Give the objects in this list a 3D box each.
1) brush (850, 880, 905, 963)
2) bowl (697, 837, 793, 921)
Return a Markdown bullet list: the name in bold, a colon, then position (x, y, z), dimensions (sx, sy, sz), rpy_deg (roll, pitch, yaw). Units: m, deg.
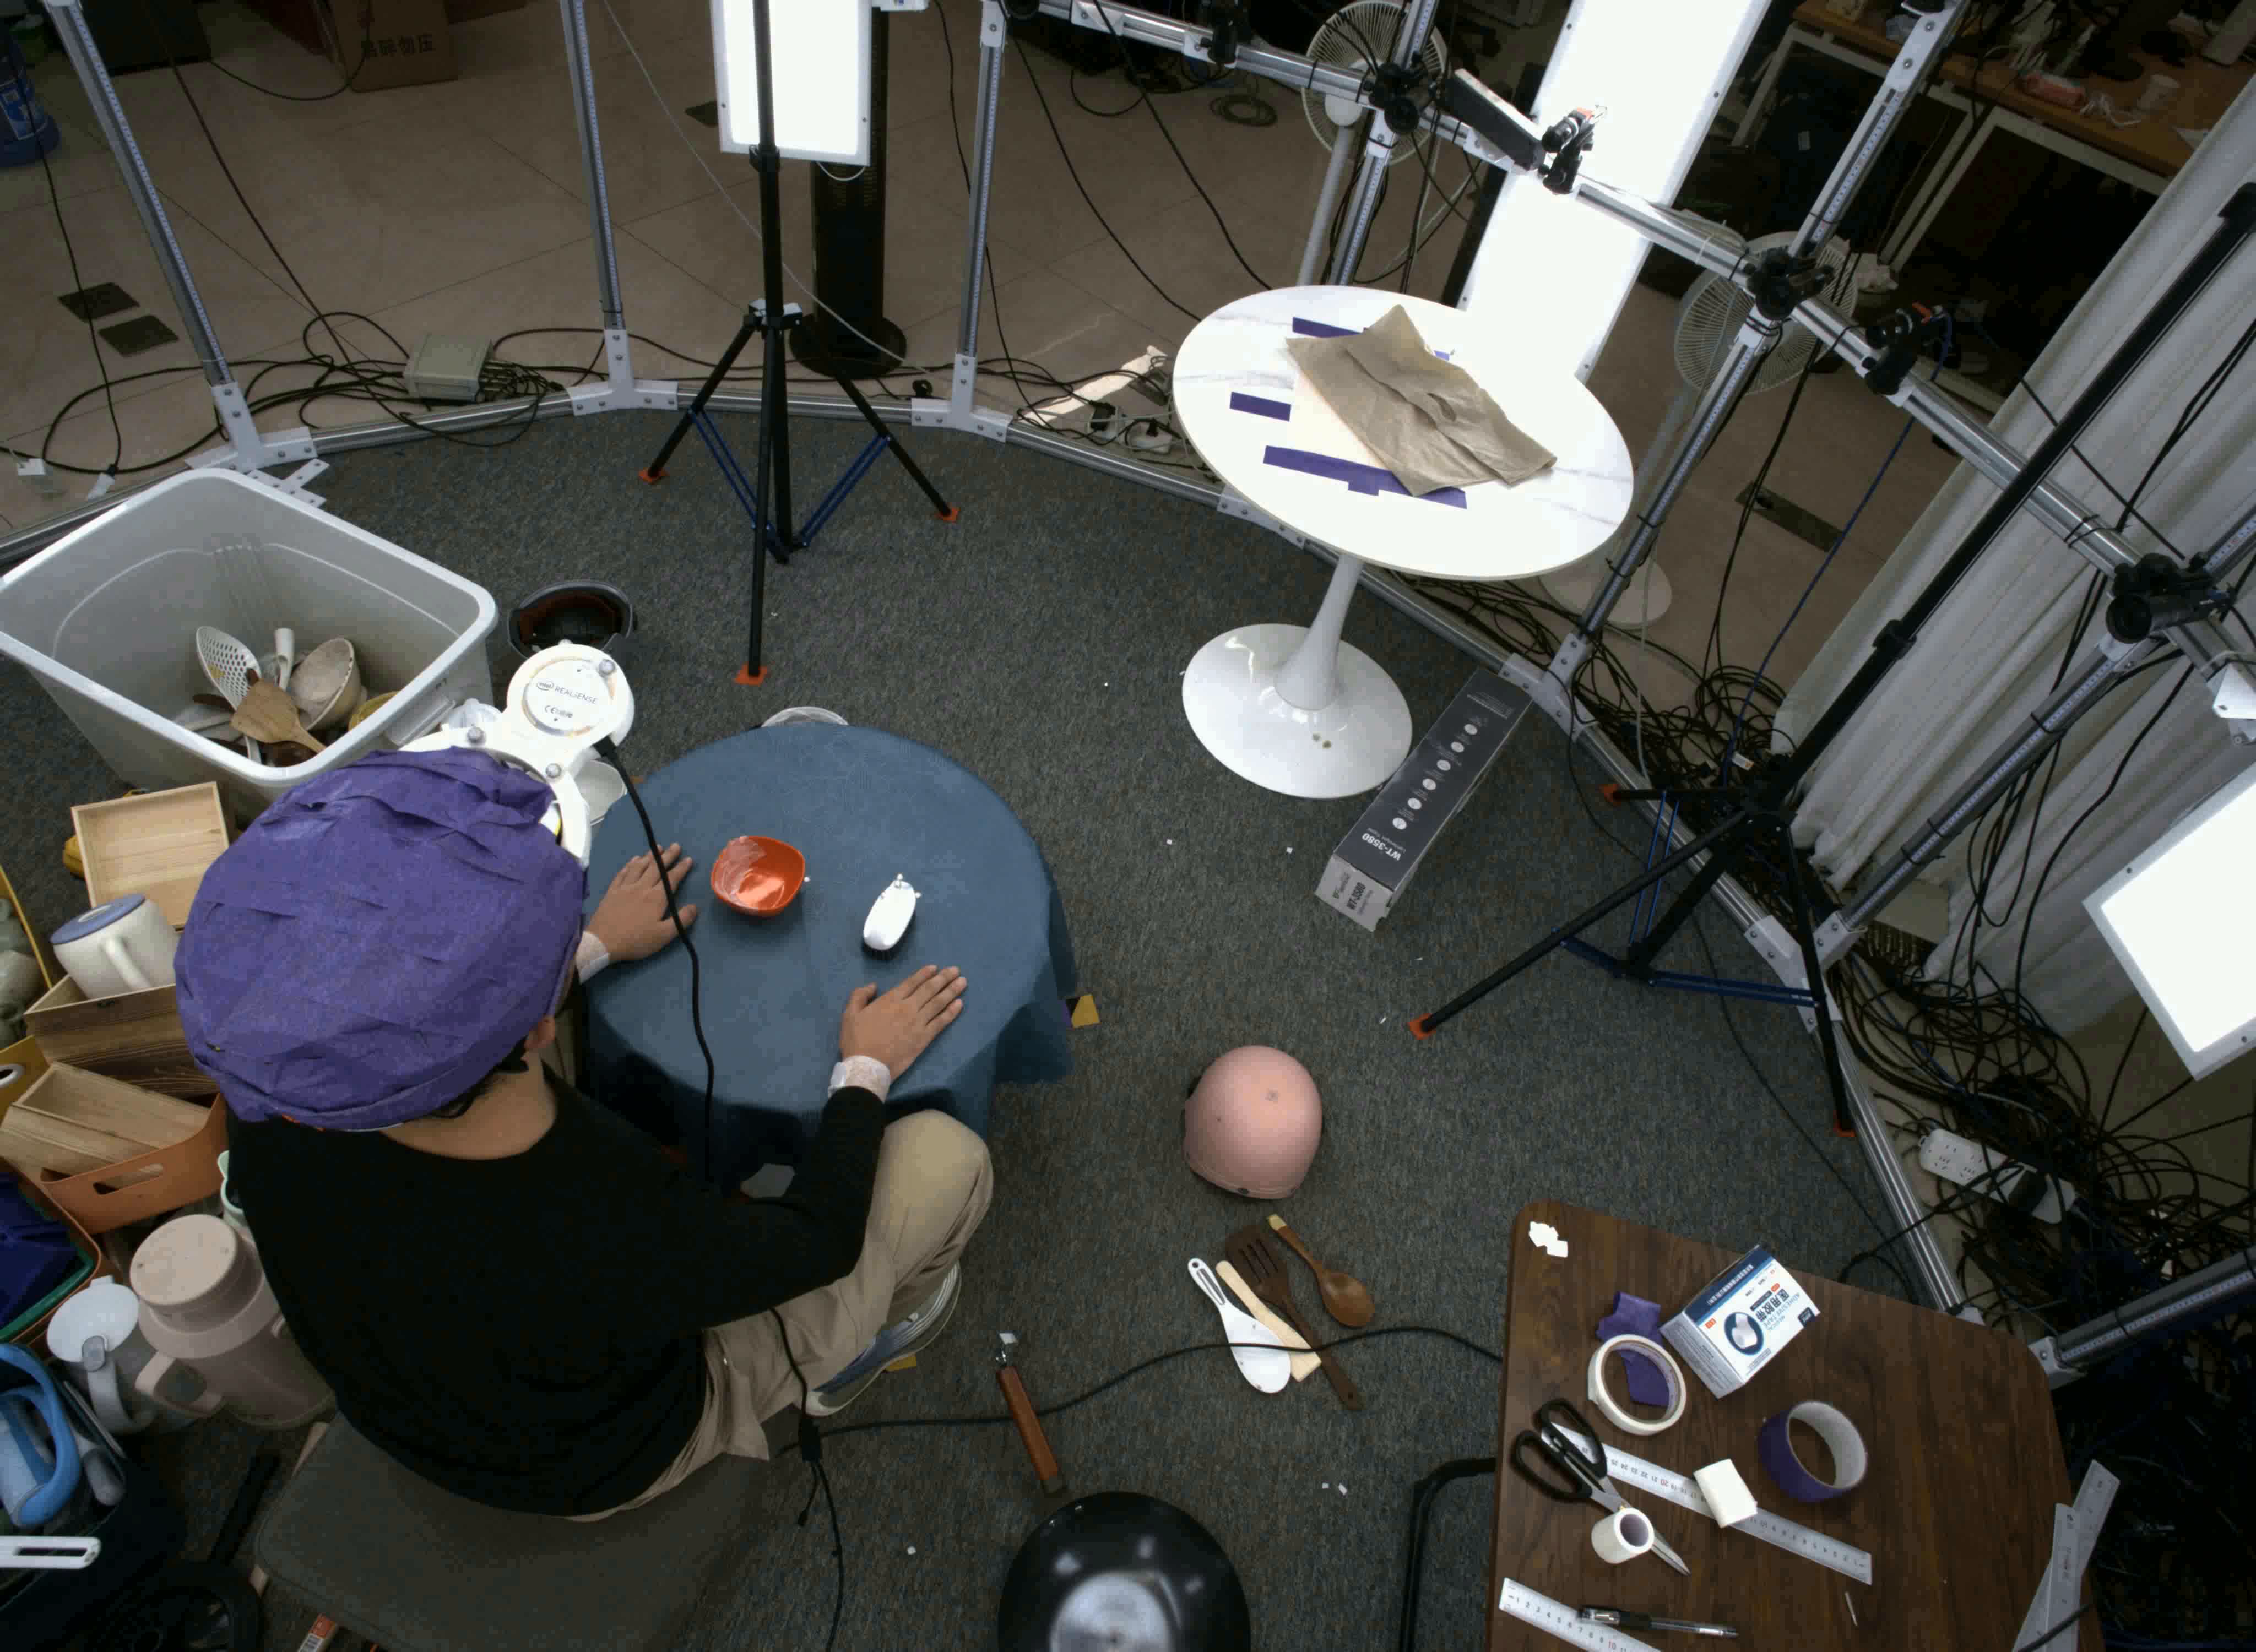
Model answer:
- **brush**: position (-0.312, 0.110, 1.618), dimensions (0.050, 0.074, 0.098), rpy_deg (21, 51, 3)
- **bowl**: position (-0.477, 0.073, 1.616), dimensions (0.119, 0.052, 0.116), rpy_deg (9, 50, -10)
